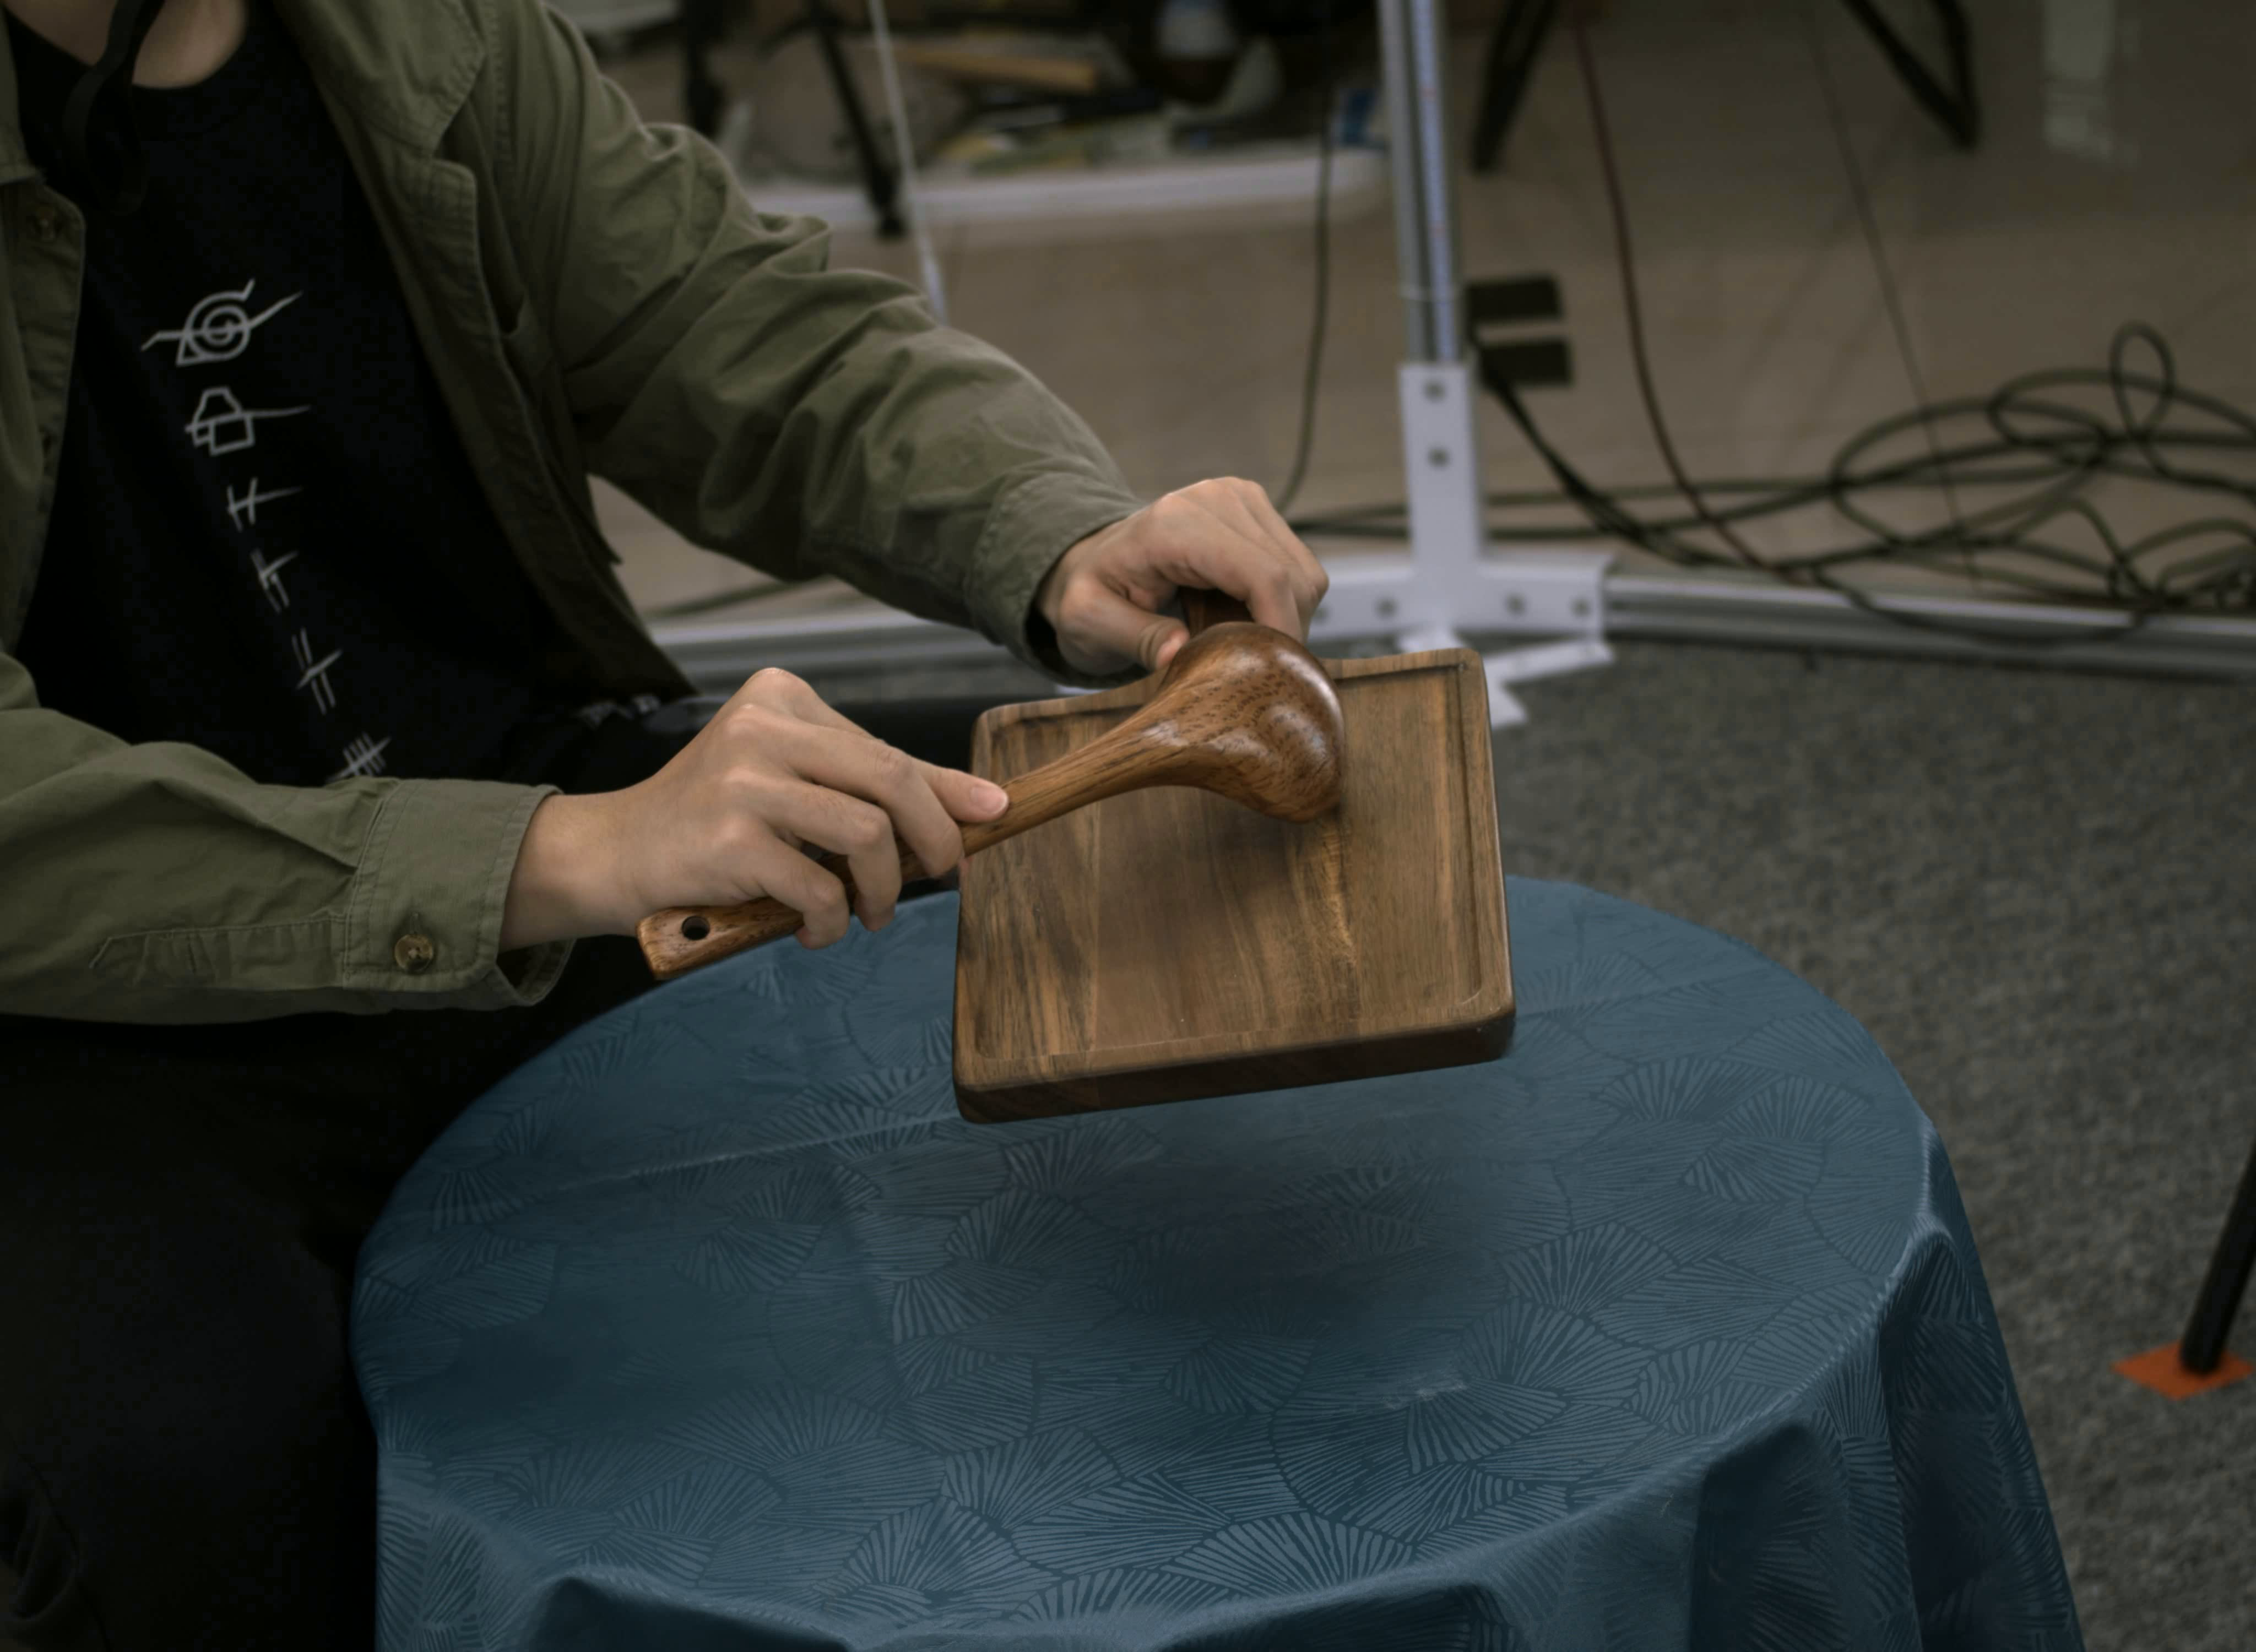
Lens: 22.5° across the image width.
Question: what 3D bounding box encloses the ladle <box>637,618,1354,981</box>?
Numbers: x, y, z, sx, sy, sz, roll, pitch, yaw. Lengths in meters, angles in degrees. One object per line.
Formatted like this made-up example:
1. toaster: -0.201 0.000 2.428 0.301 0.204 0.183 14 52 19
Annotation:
1. ladle: -0.047 0.000 2.051 0.273 0.077 0.081 -23 71 -5

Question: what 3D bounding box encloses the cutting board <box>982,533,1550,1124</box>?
1. cutting board: 0.052 -0.010 2.094 0.201 0.023 0.346 -6 34 7
